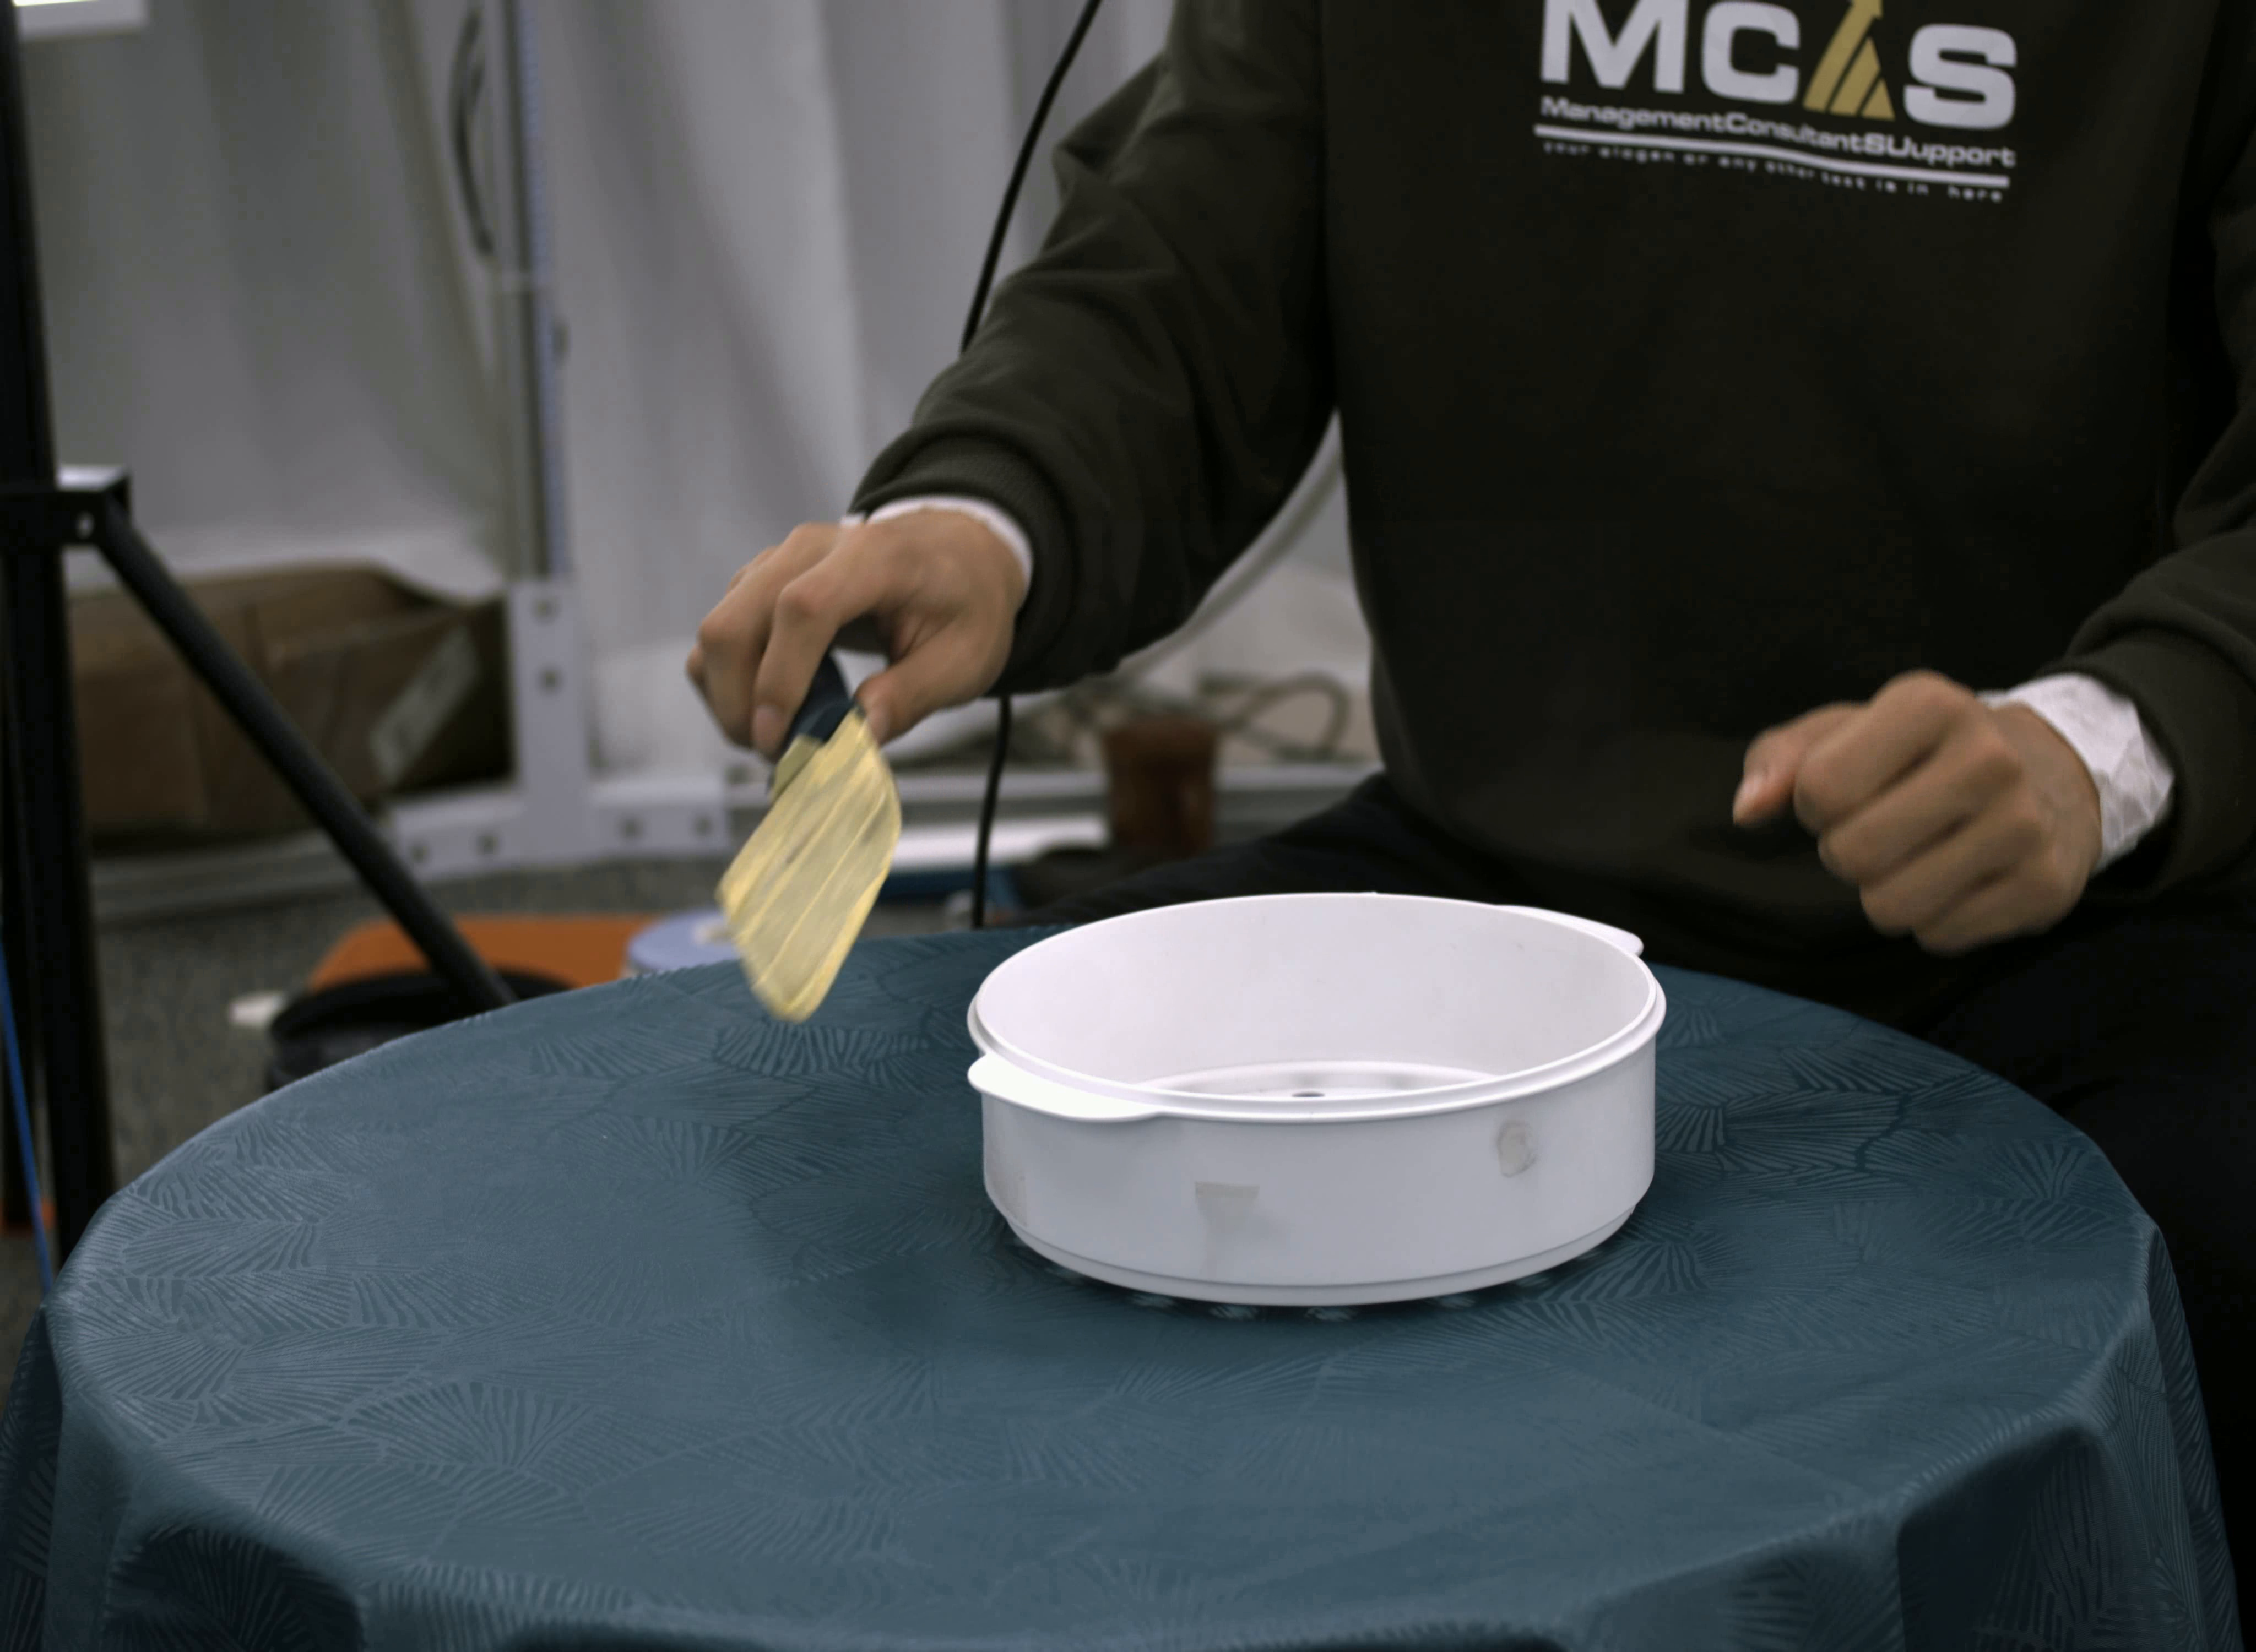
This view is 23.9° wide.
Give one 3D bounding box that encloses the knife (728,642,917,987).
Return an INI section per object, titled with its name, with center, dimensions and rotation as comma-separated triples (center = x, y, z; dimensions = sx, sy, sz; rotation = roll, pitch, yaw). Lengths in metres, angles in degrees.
[knife]
center = -0.096, -0.007, 1.617
dimensions = 0.027, 0.081, 0.292
rotation = 34, 8, -15

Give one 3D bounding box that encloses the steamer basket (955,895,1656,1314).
[steamer basket]
center = 0.051, 0.080, 1.528
dimensions = 0.225, 0.069, 0.206
rotation = -14, 20, -38
